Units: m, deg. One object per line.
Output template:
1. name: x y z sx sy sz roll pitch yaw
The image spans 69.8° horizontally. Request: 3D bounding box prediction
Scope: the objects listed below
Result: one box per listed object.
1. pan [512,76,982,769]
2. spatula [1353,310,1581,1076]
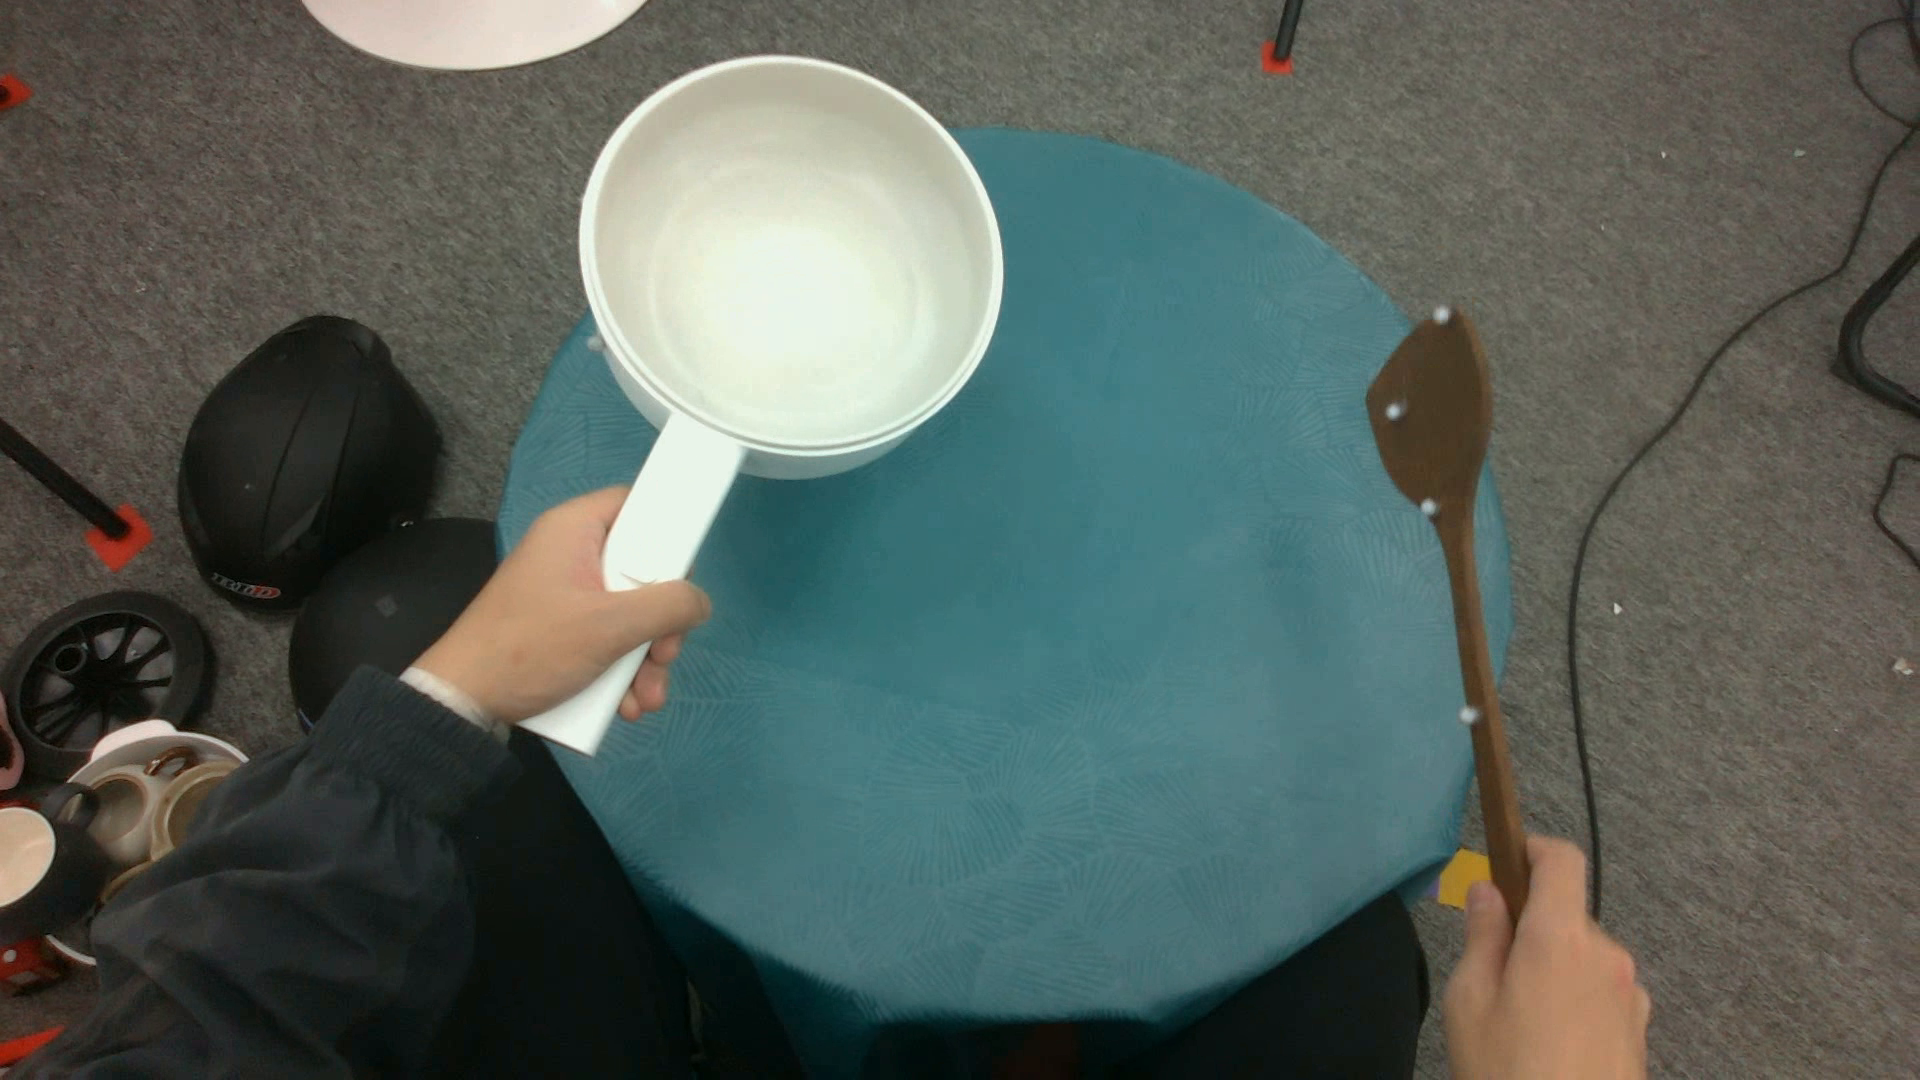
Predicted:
1. pan: -0.124 -0.057 0.695 0.201 0.102 0.355 24 76 -9
2. spatula: 0.251 0.059 0.683 0.016 0.095 0.387 5 62 -14
